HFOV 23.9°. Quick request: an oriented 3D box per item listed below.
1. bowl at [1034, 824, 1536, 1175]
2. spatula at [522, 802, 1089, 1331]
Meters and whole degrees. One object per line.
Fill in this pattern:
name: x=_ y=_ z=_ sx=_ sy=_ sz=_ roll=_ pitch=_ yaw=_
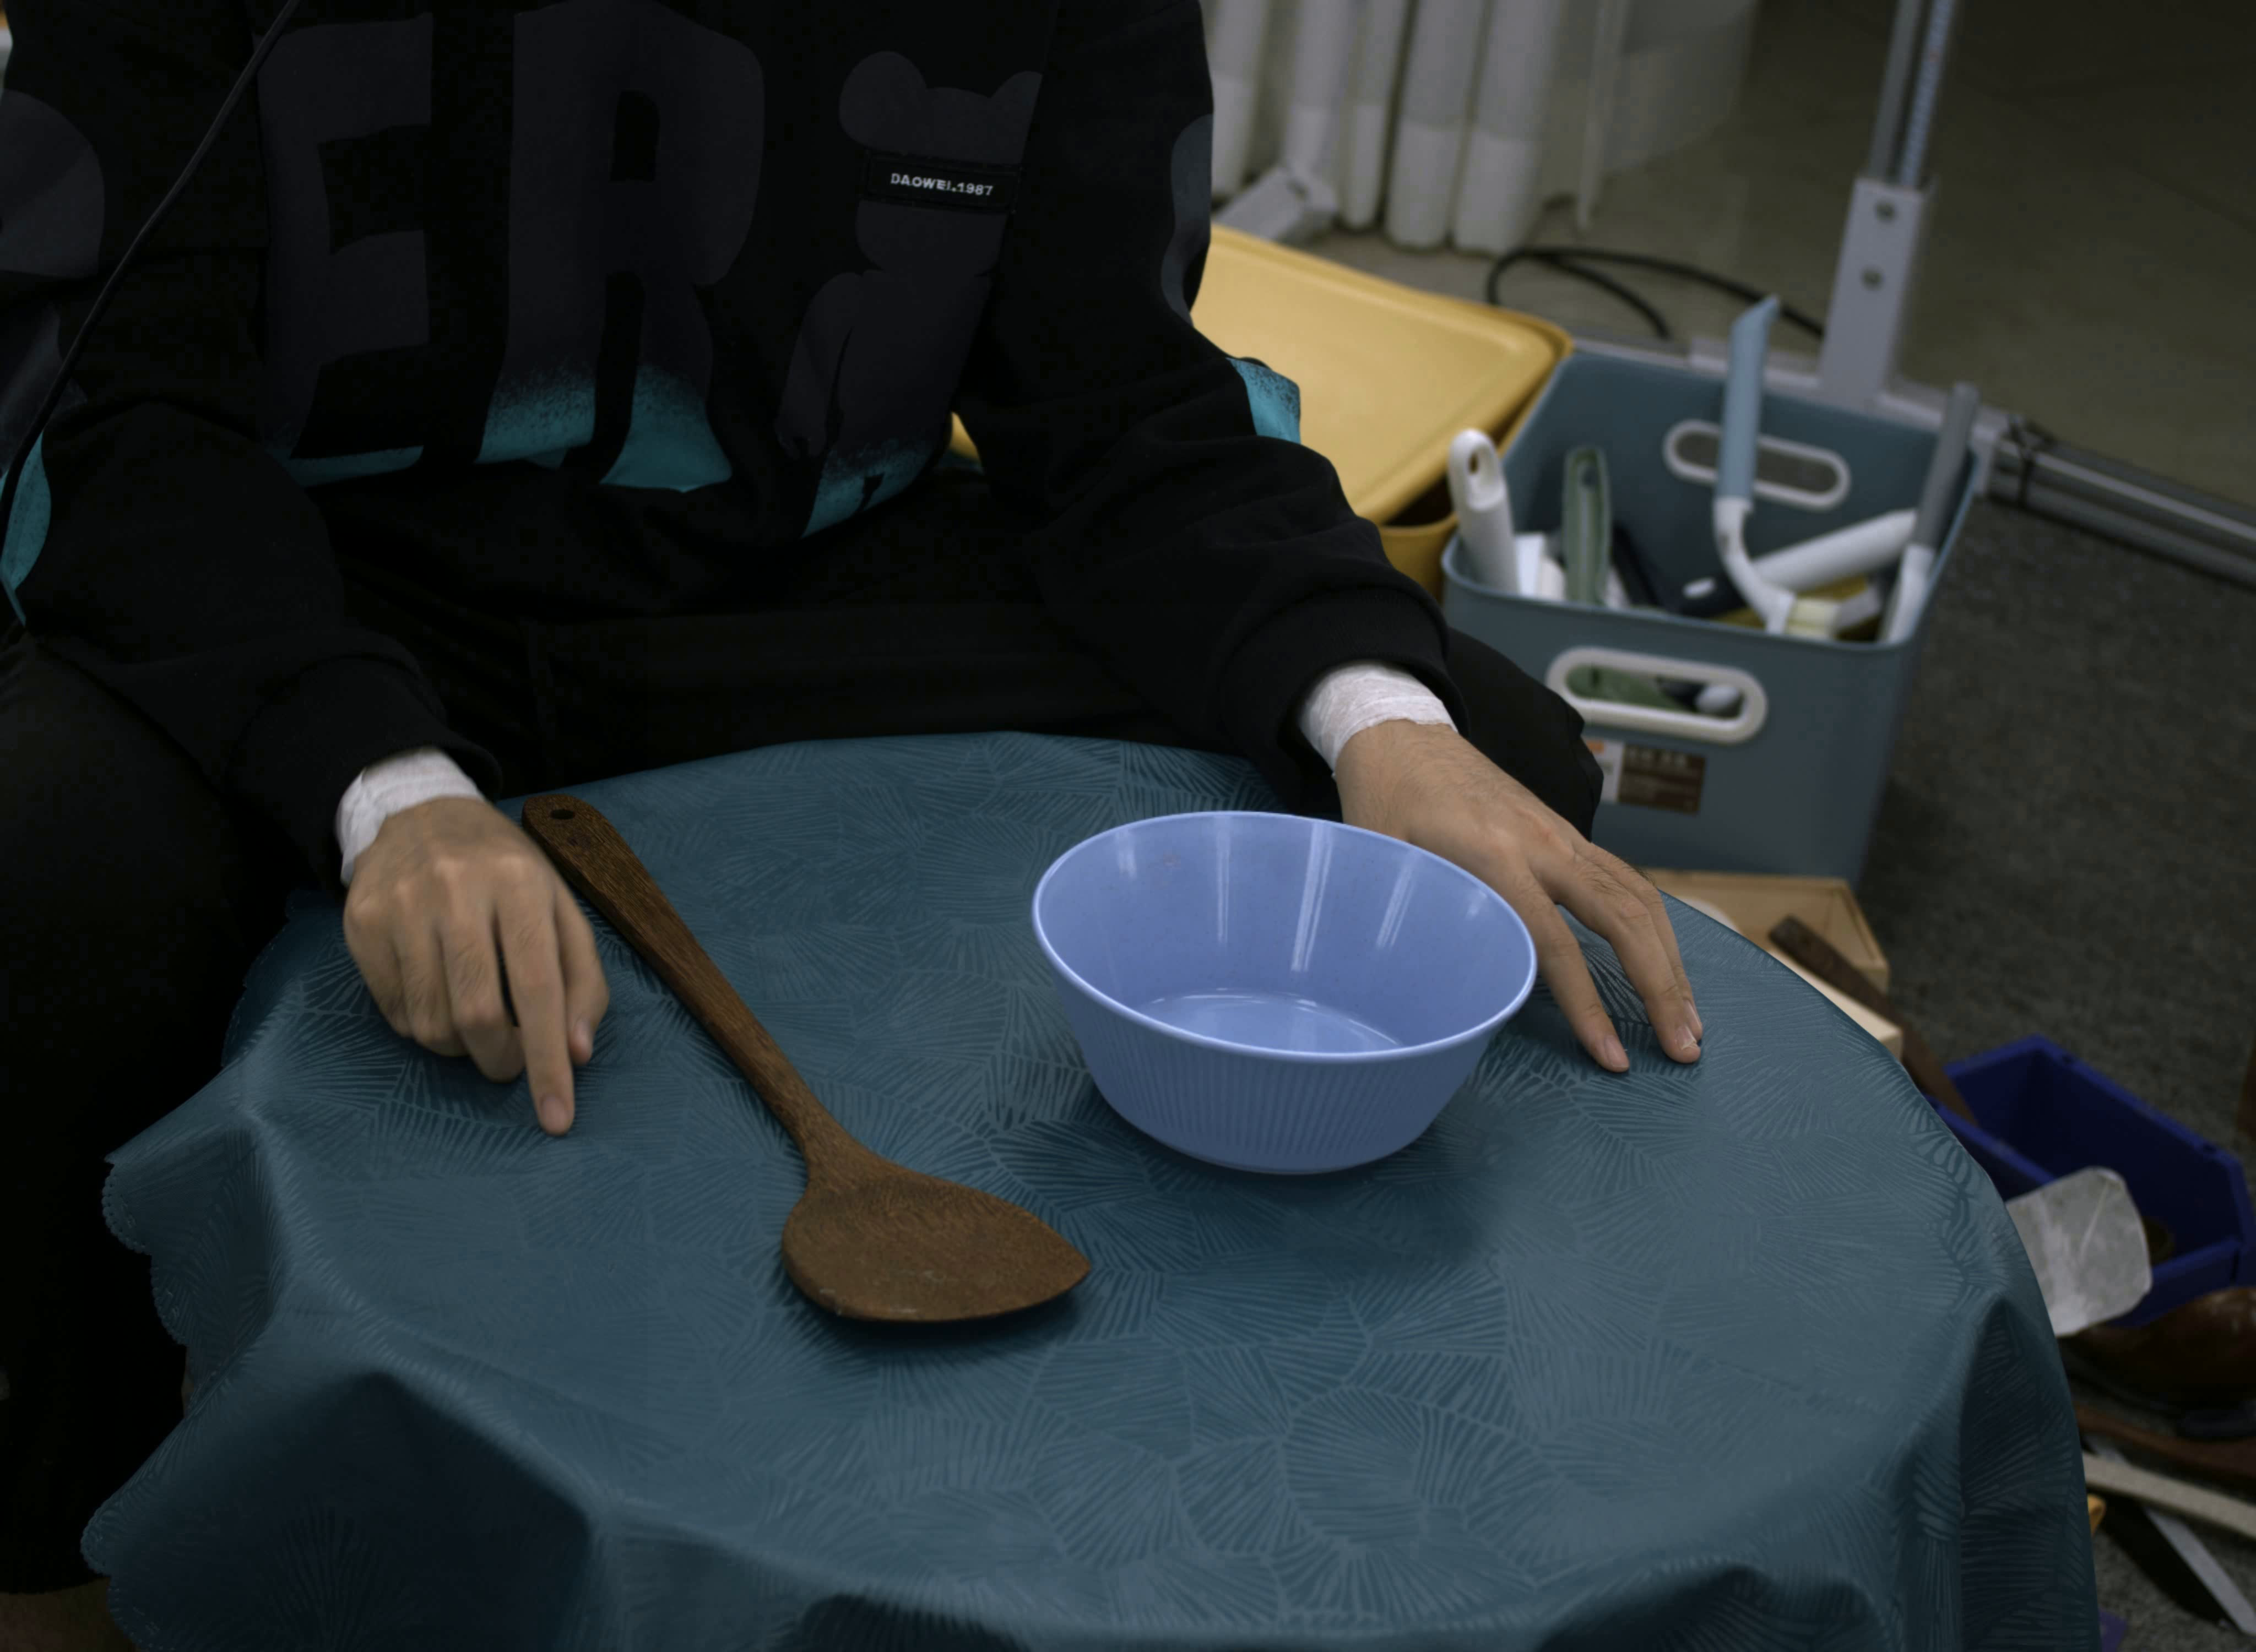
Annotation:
bowl: x=0.051 y=0.066 z=1.850 sx=0.175 sy=0.070 sz=0.177 roll=5 pitch=25 yaw=-3
spatula: x=-0.133 y=0.075 z=1.851 sx=0.095 sy=0.016 sz=0.389 roll=-7 pitch=29 yaw=-27
